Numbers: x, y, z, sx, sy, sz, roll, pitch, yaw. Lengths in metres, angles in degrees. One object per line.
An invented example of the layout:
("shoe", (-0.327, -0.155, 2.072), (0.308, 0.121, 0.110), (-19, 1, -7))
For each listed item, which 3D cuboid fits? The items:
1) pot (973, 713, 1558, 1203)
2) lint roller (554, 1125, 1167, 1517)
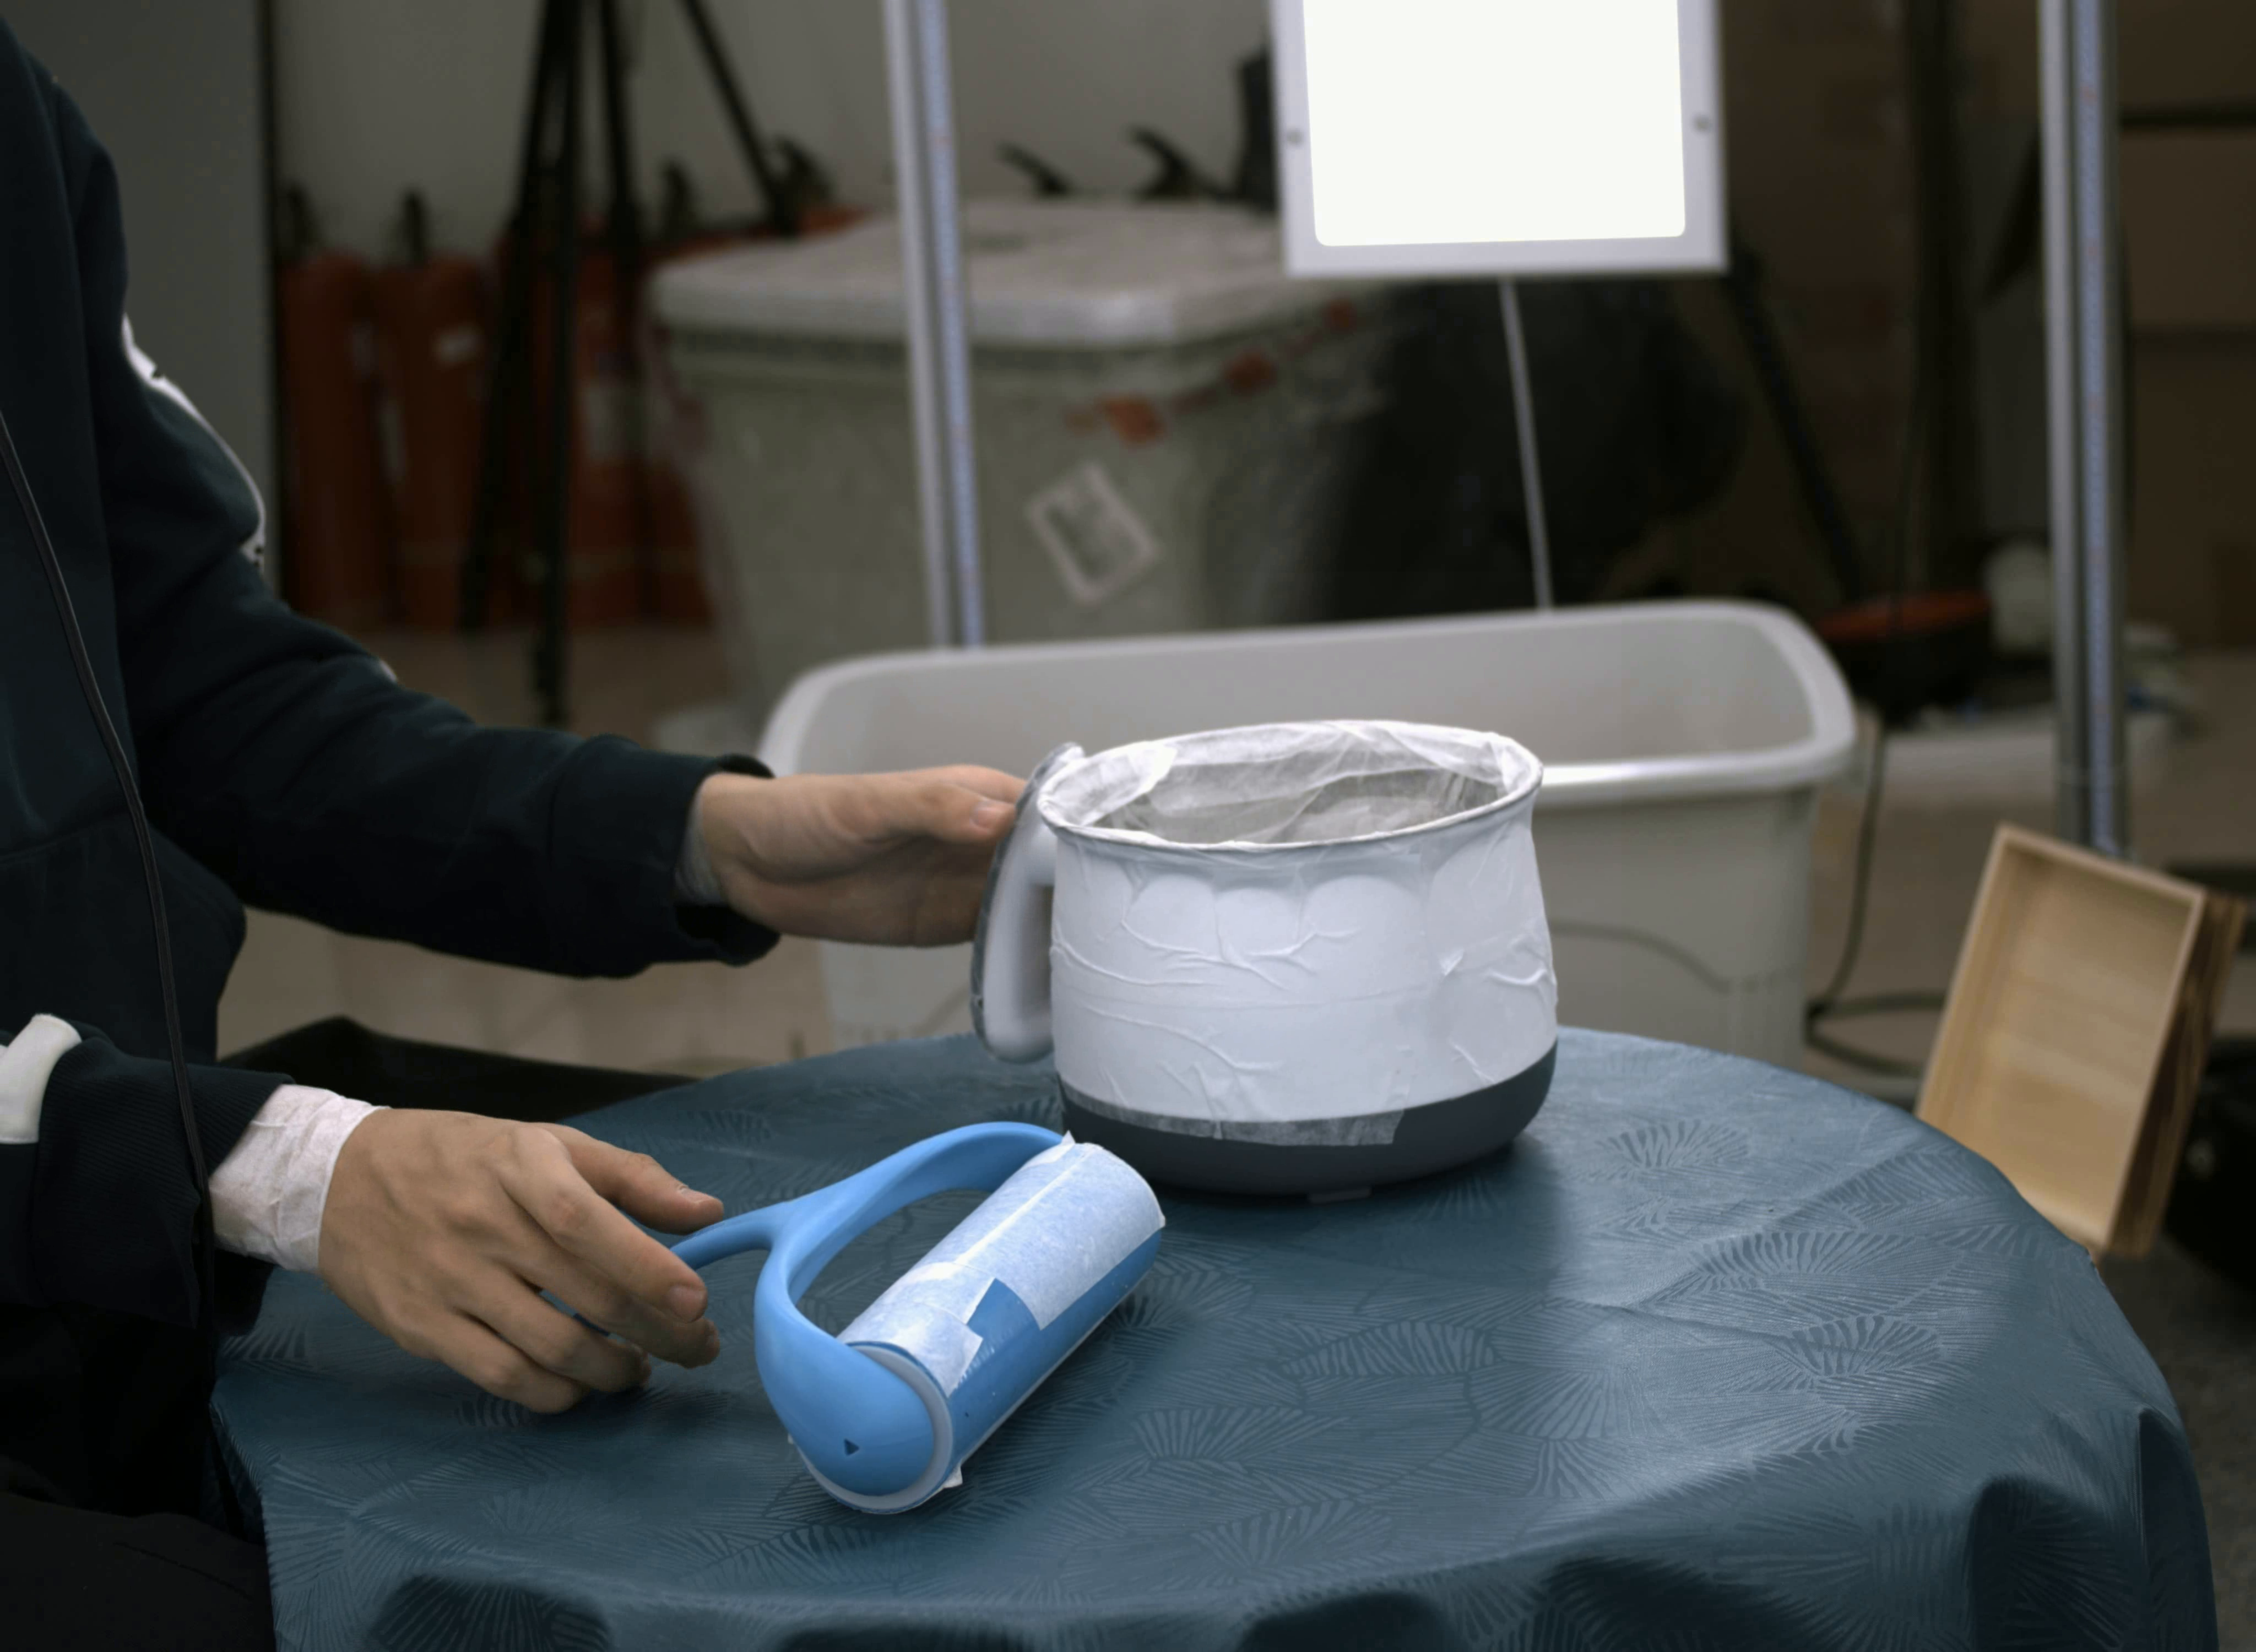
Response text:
("pot", (0.039, 0.041, 1.931), (0.238, 0.137, 0.174), (8, 19, 38))
("lint roller", (-0.097, 0.151, 1.713), (0.182, 0.068, 0.225), (0, 16, 16))
